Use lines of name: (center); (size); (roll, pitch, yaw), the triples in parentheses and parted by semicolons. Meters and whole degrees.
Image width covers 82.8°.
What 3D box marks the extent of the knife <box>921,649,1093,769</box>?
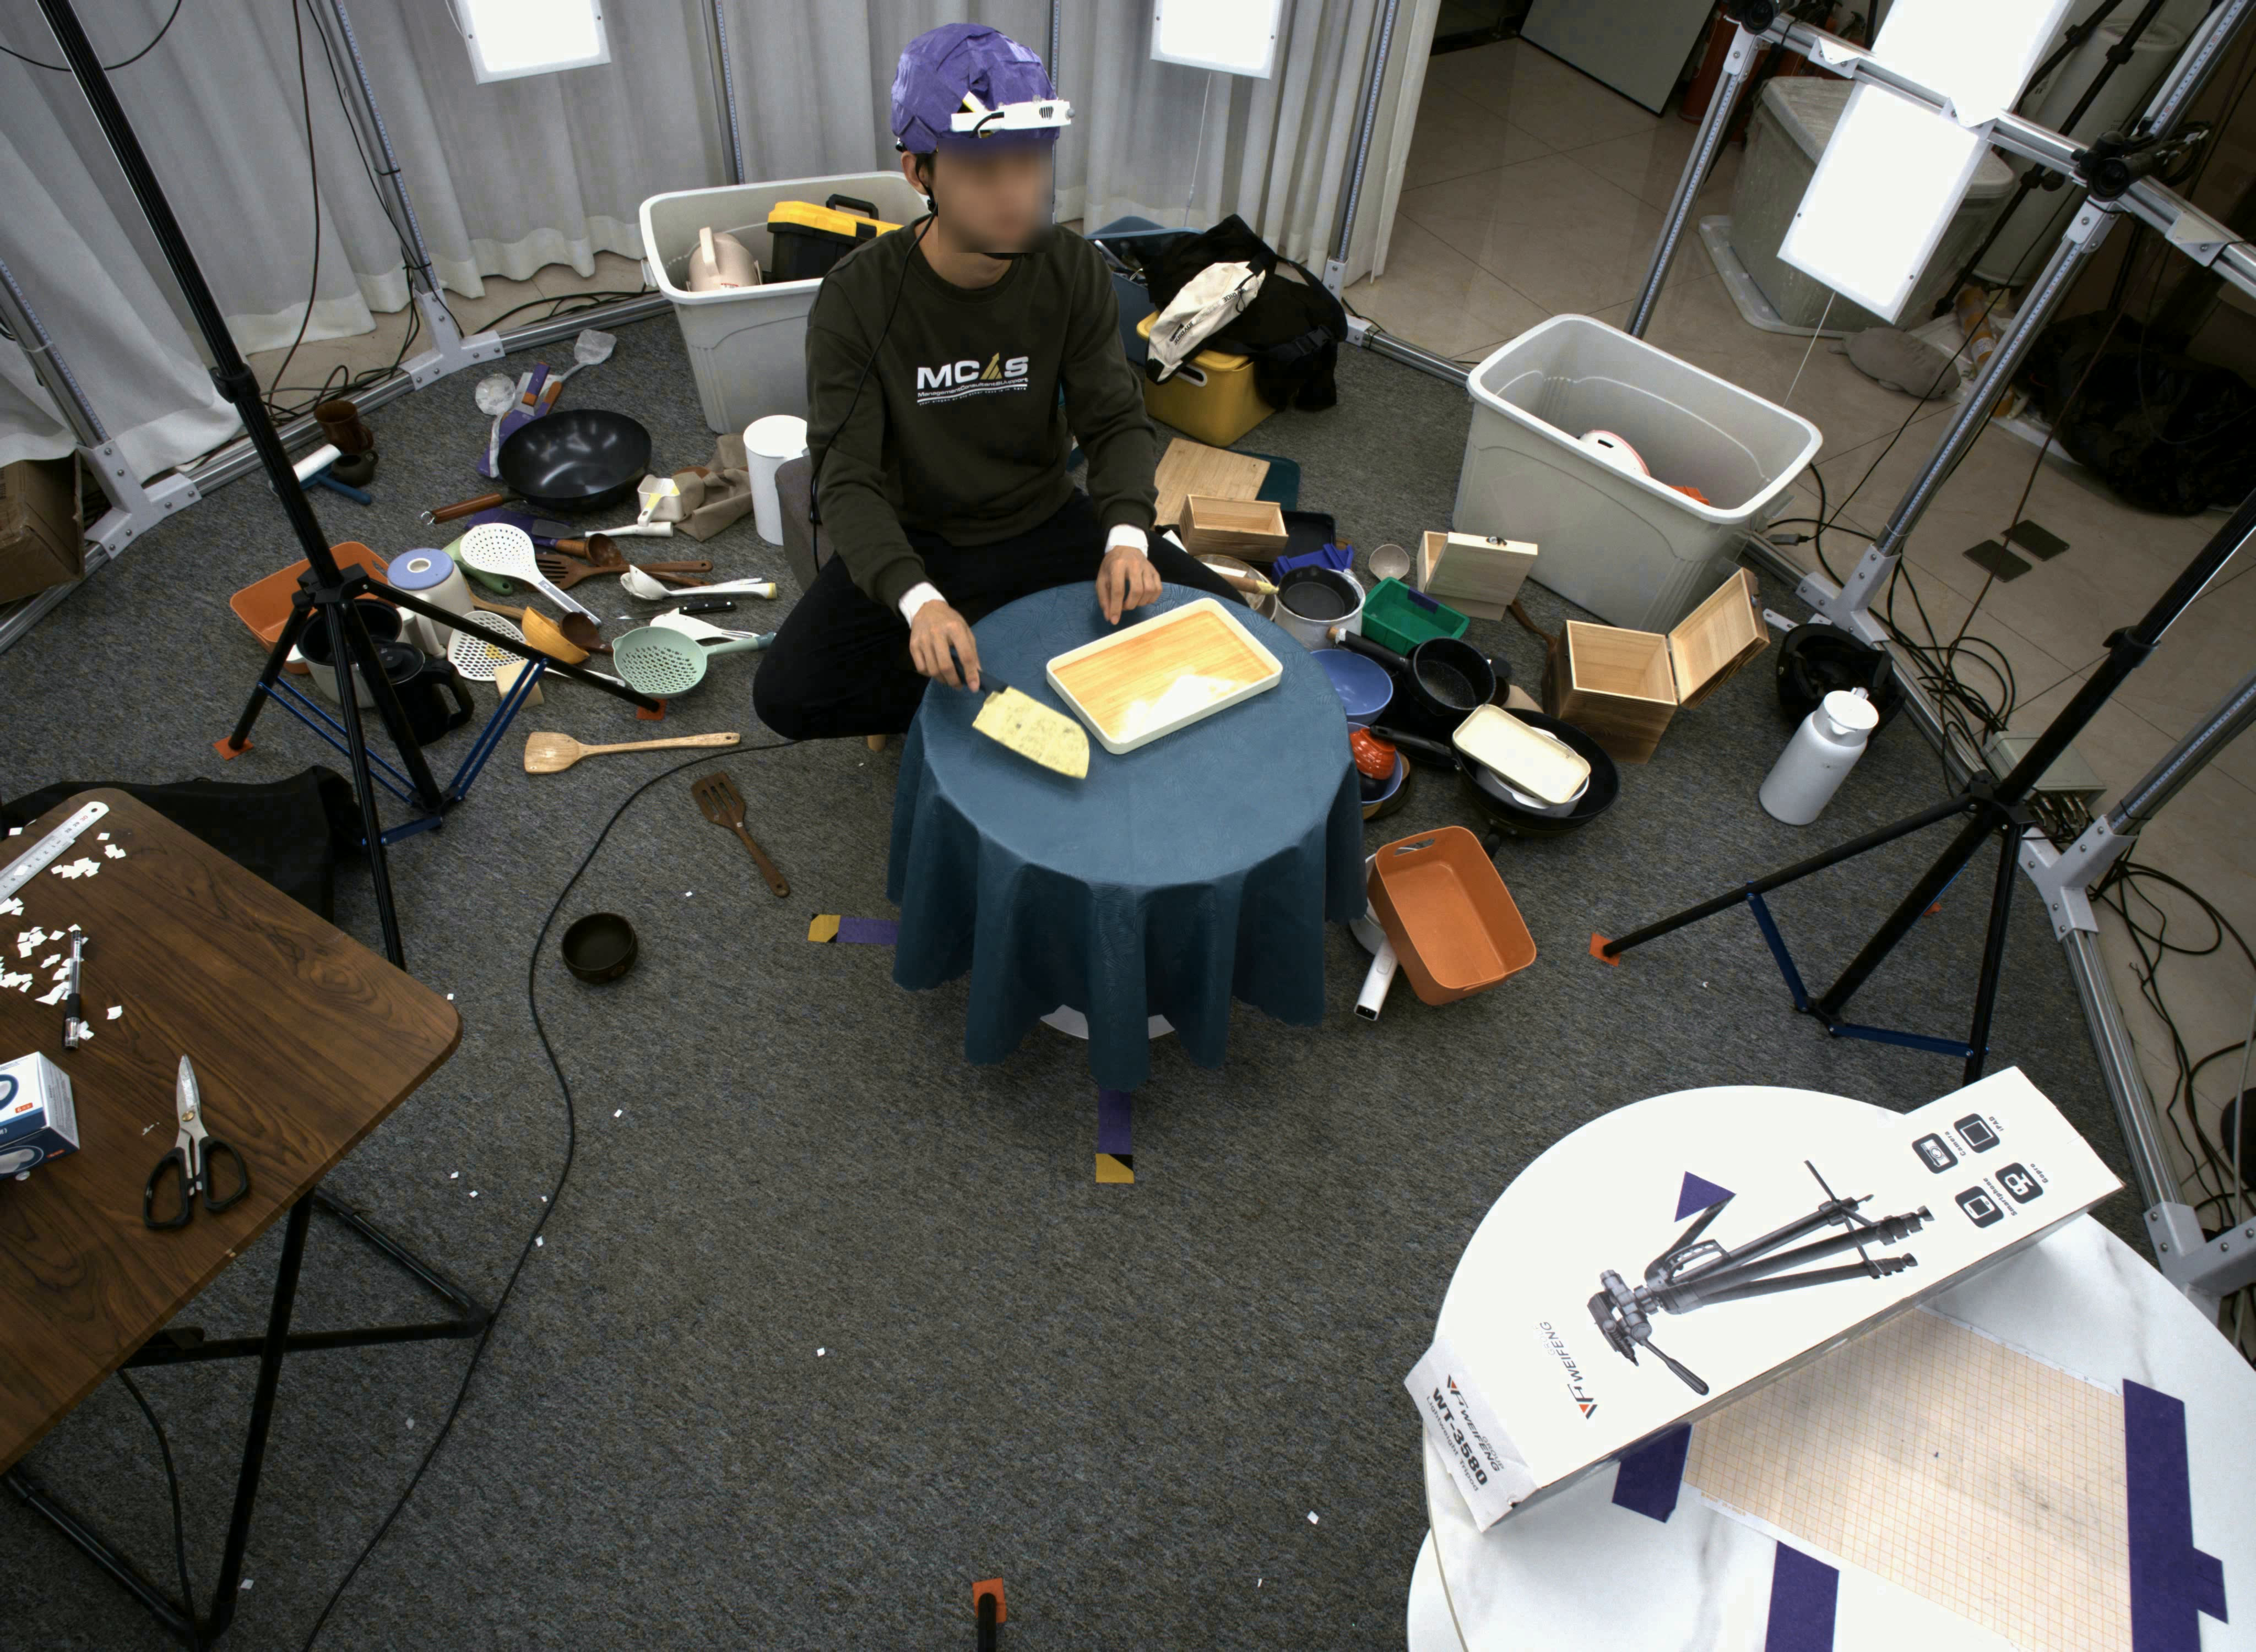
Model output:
knife: (-0.168, -0.158, 1.725); (0.292, 0.027, 0.081); (31, 78, 17)

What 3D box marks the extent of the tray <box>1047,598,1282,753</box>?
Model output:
tray: (0.053, -0.222, 1.846); (0.301, 0.027, 0.195); (-25, 54, -23)
